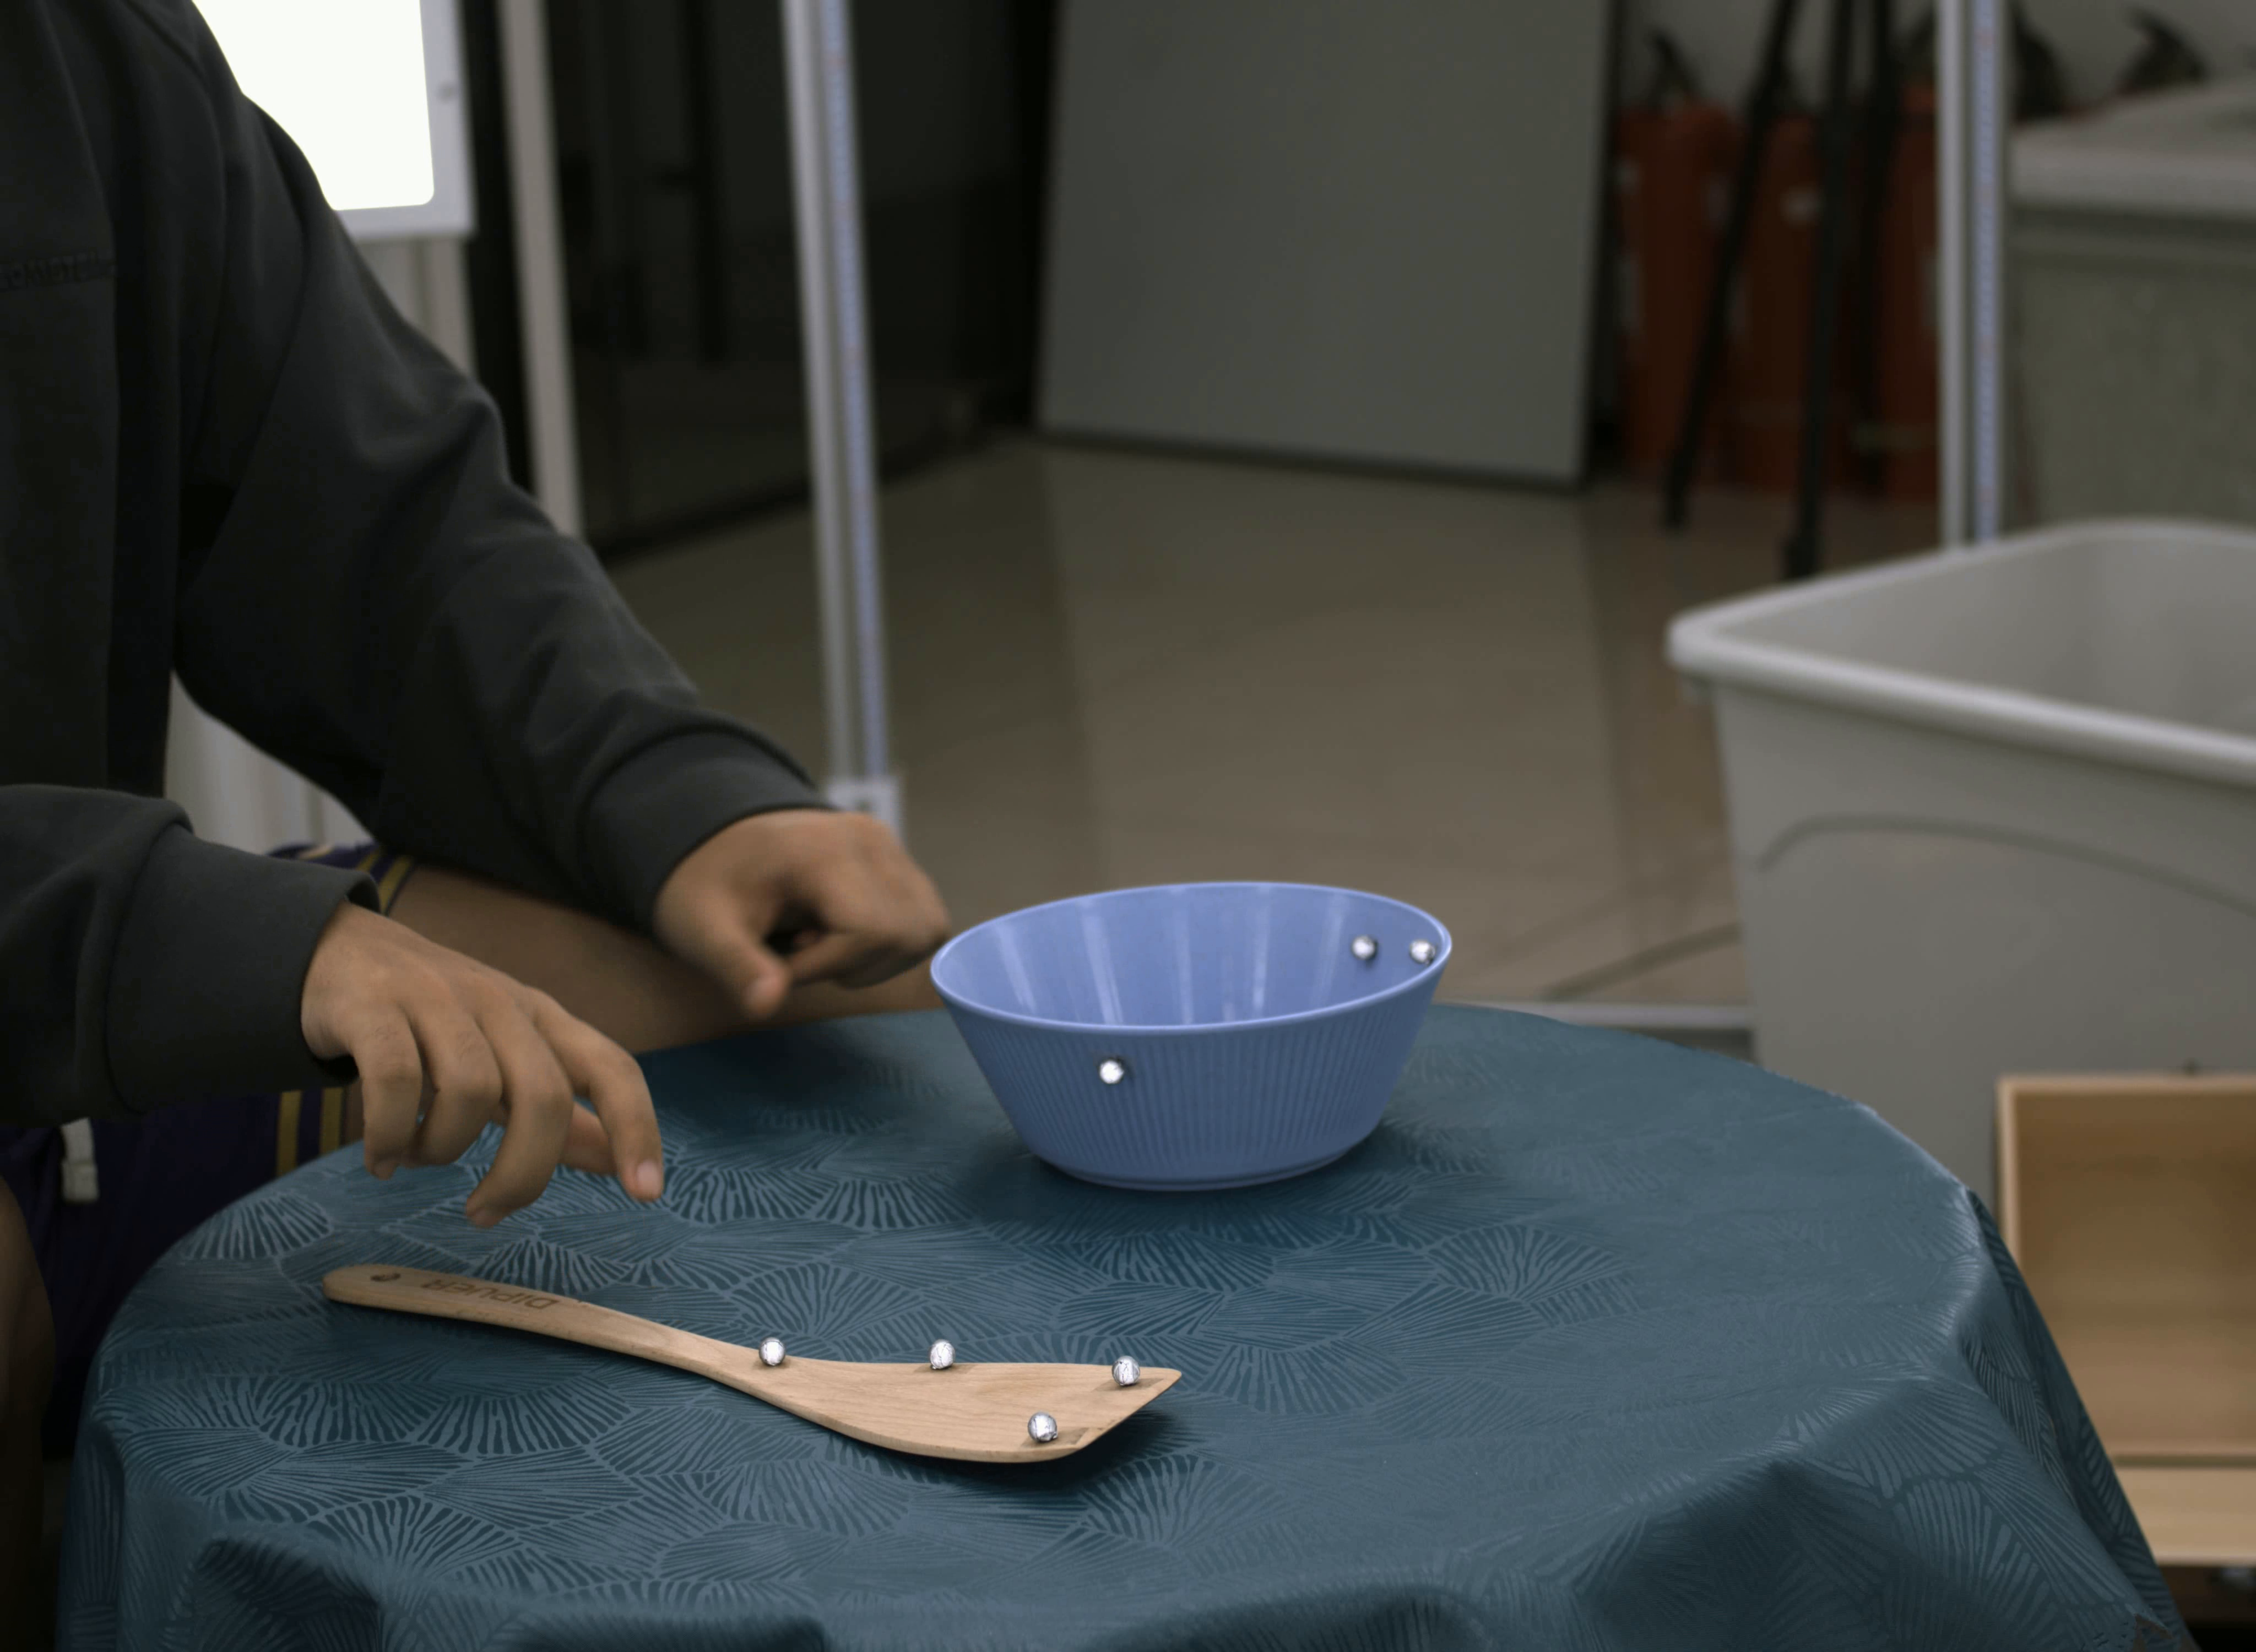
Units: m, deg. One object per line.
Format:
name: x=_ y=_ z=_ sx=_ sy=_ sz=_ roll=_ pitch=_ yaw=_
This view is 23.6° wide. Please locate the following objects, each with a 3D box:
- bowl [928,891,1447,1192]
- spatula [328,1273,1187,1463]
bowl: x=0.021 y=0.074 z=1.807 sx=0.174 sy=0.071 sz=0.176 roll=-4 pitch=14 yaw=0
spatula: x=-0.121 y=0.157 z=1.623 sx=0.330 sy=0.017 sz=0.078 roll=6 pitch=18 yaw=38
